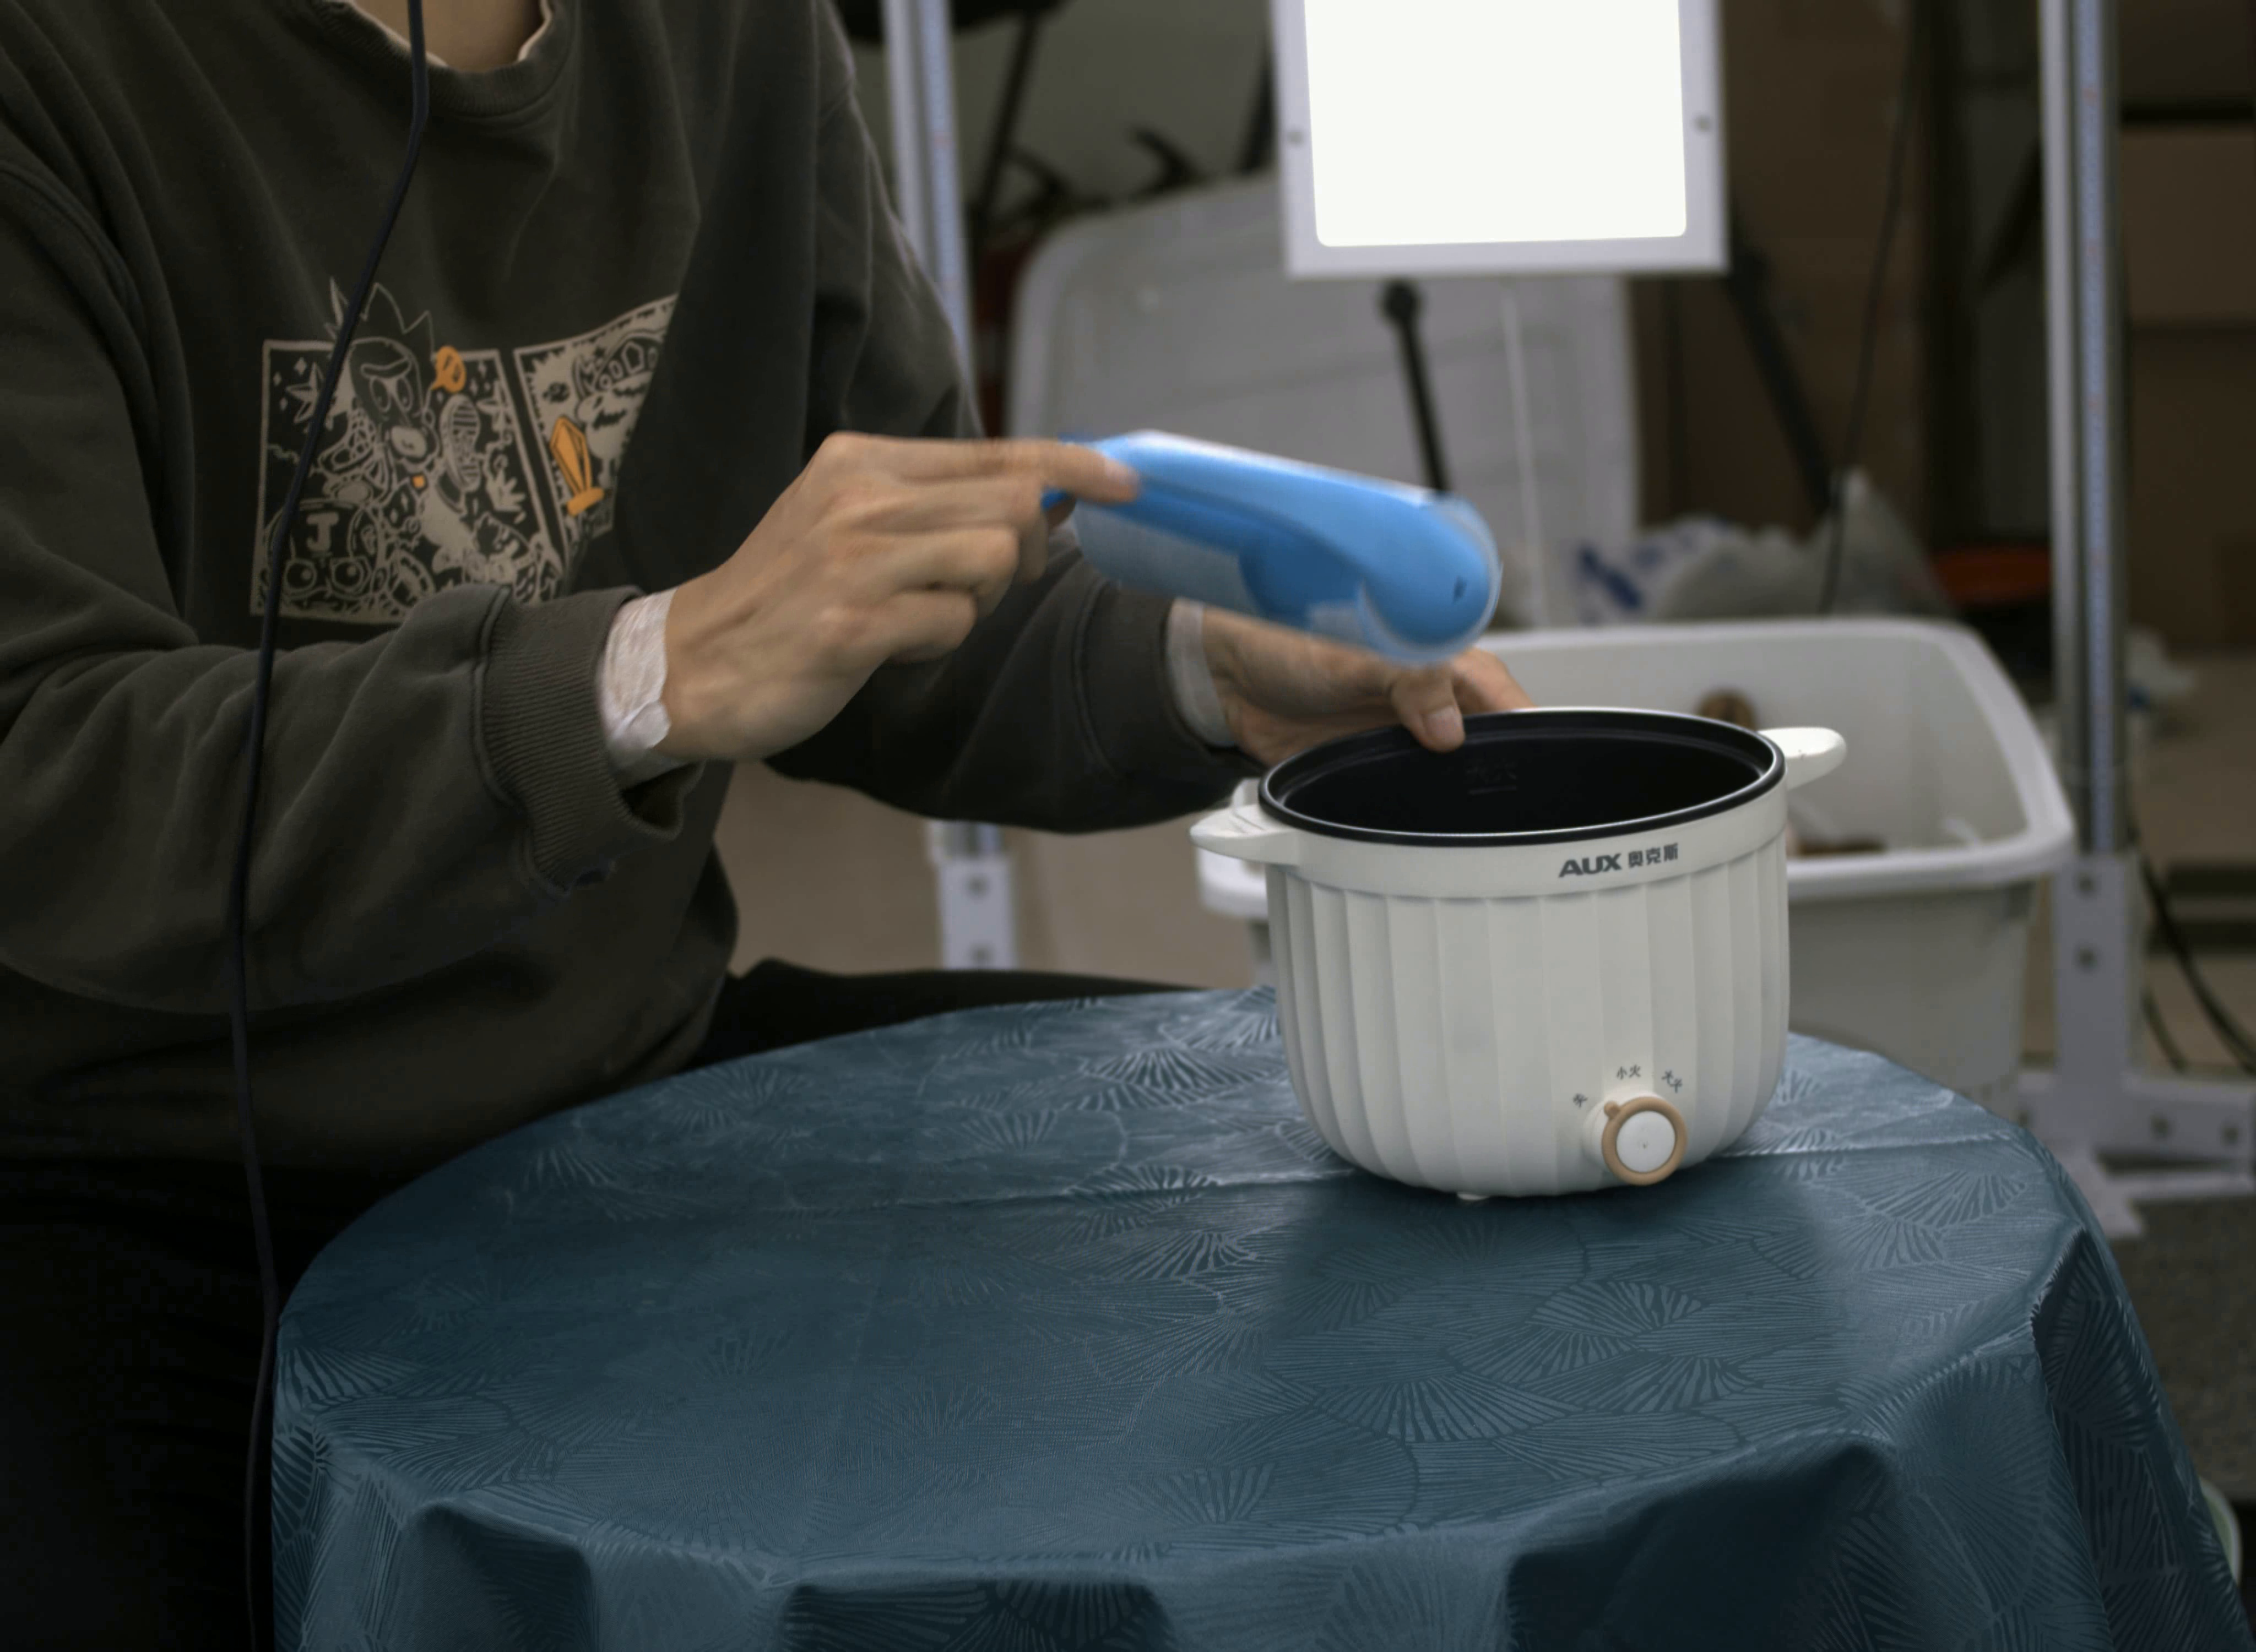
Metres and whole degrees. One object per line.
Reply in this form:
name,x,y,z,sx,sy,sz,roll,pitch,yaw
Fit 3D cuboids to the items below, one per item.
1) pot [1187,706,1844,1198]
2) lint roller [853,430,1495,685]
pot,0.142,0.045,1.885,0.237,0.143,0.192,-10,12,-14
lint roller,-0.003,-0.086,1.769,0.176,0.068,0.233,-3,12,-28
